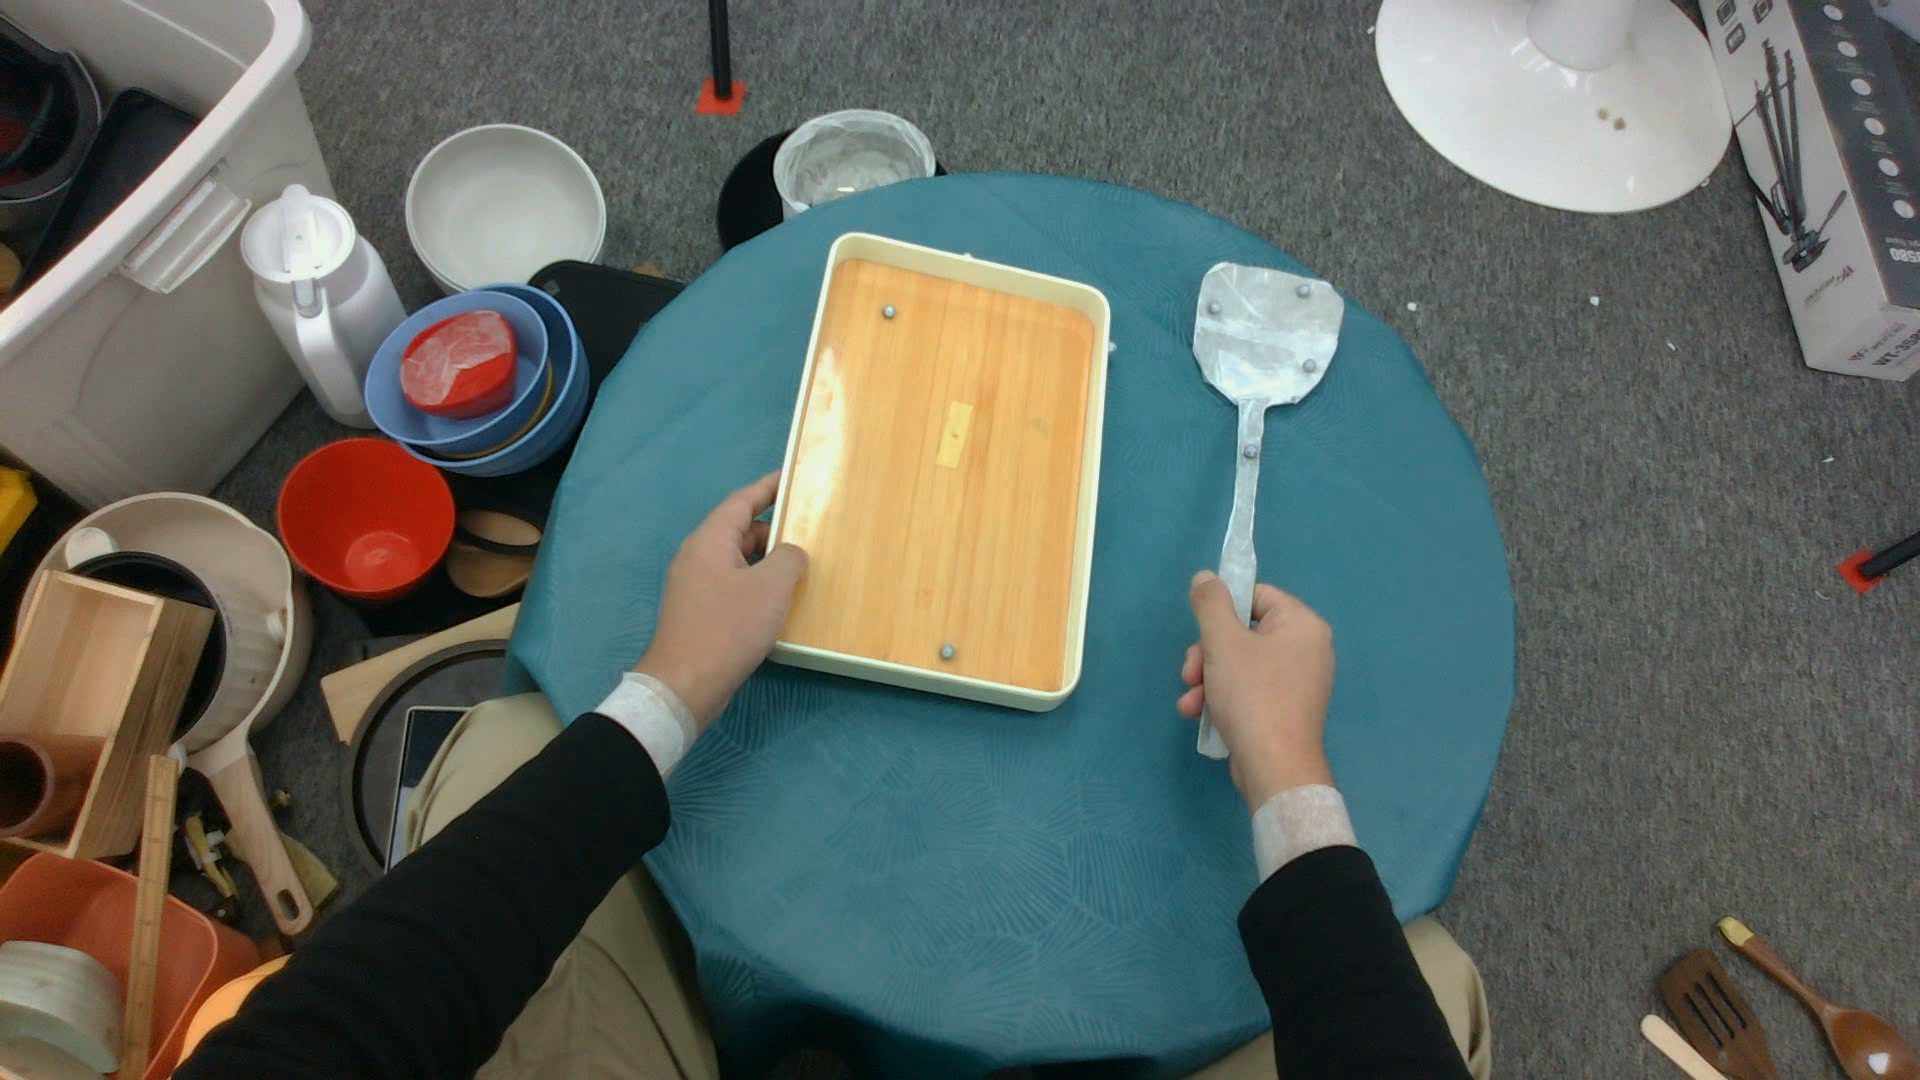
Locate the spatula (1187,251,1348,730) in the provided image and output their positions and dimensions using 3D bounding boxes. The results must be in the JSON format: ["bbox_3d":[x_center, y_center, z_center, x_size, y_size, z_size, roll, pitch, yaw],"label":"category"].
[{"bbox_3d":[0.178,-0.044,0.846,0.098,0.044,0.367,14,51,3],"label":"spatula"}]

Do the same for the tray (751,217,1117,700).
[{"bbox_3d":[-0.008,-0.059,0.846,0.191,0.027,0.301,13,61,-7],"label":"tray"}]
